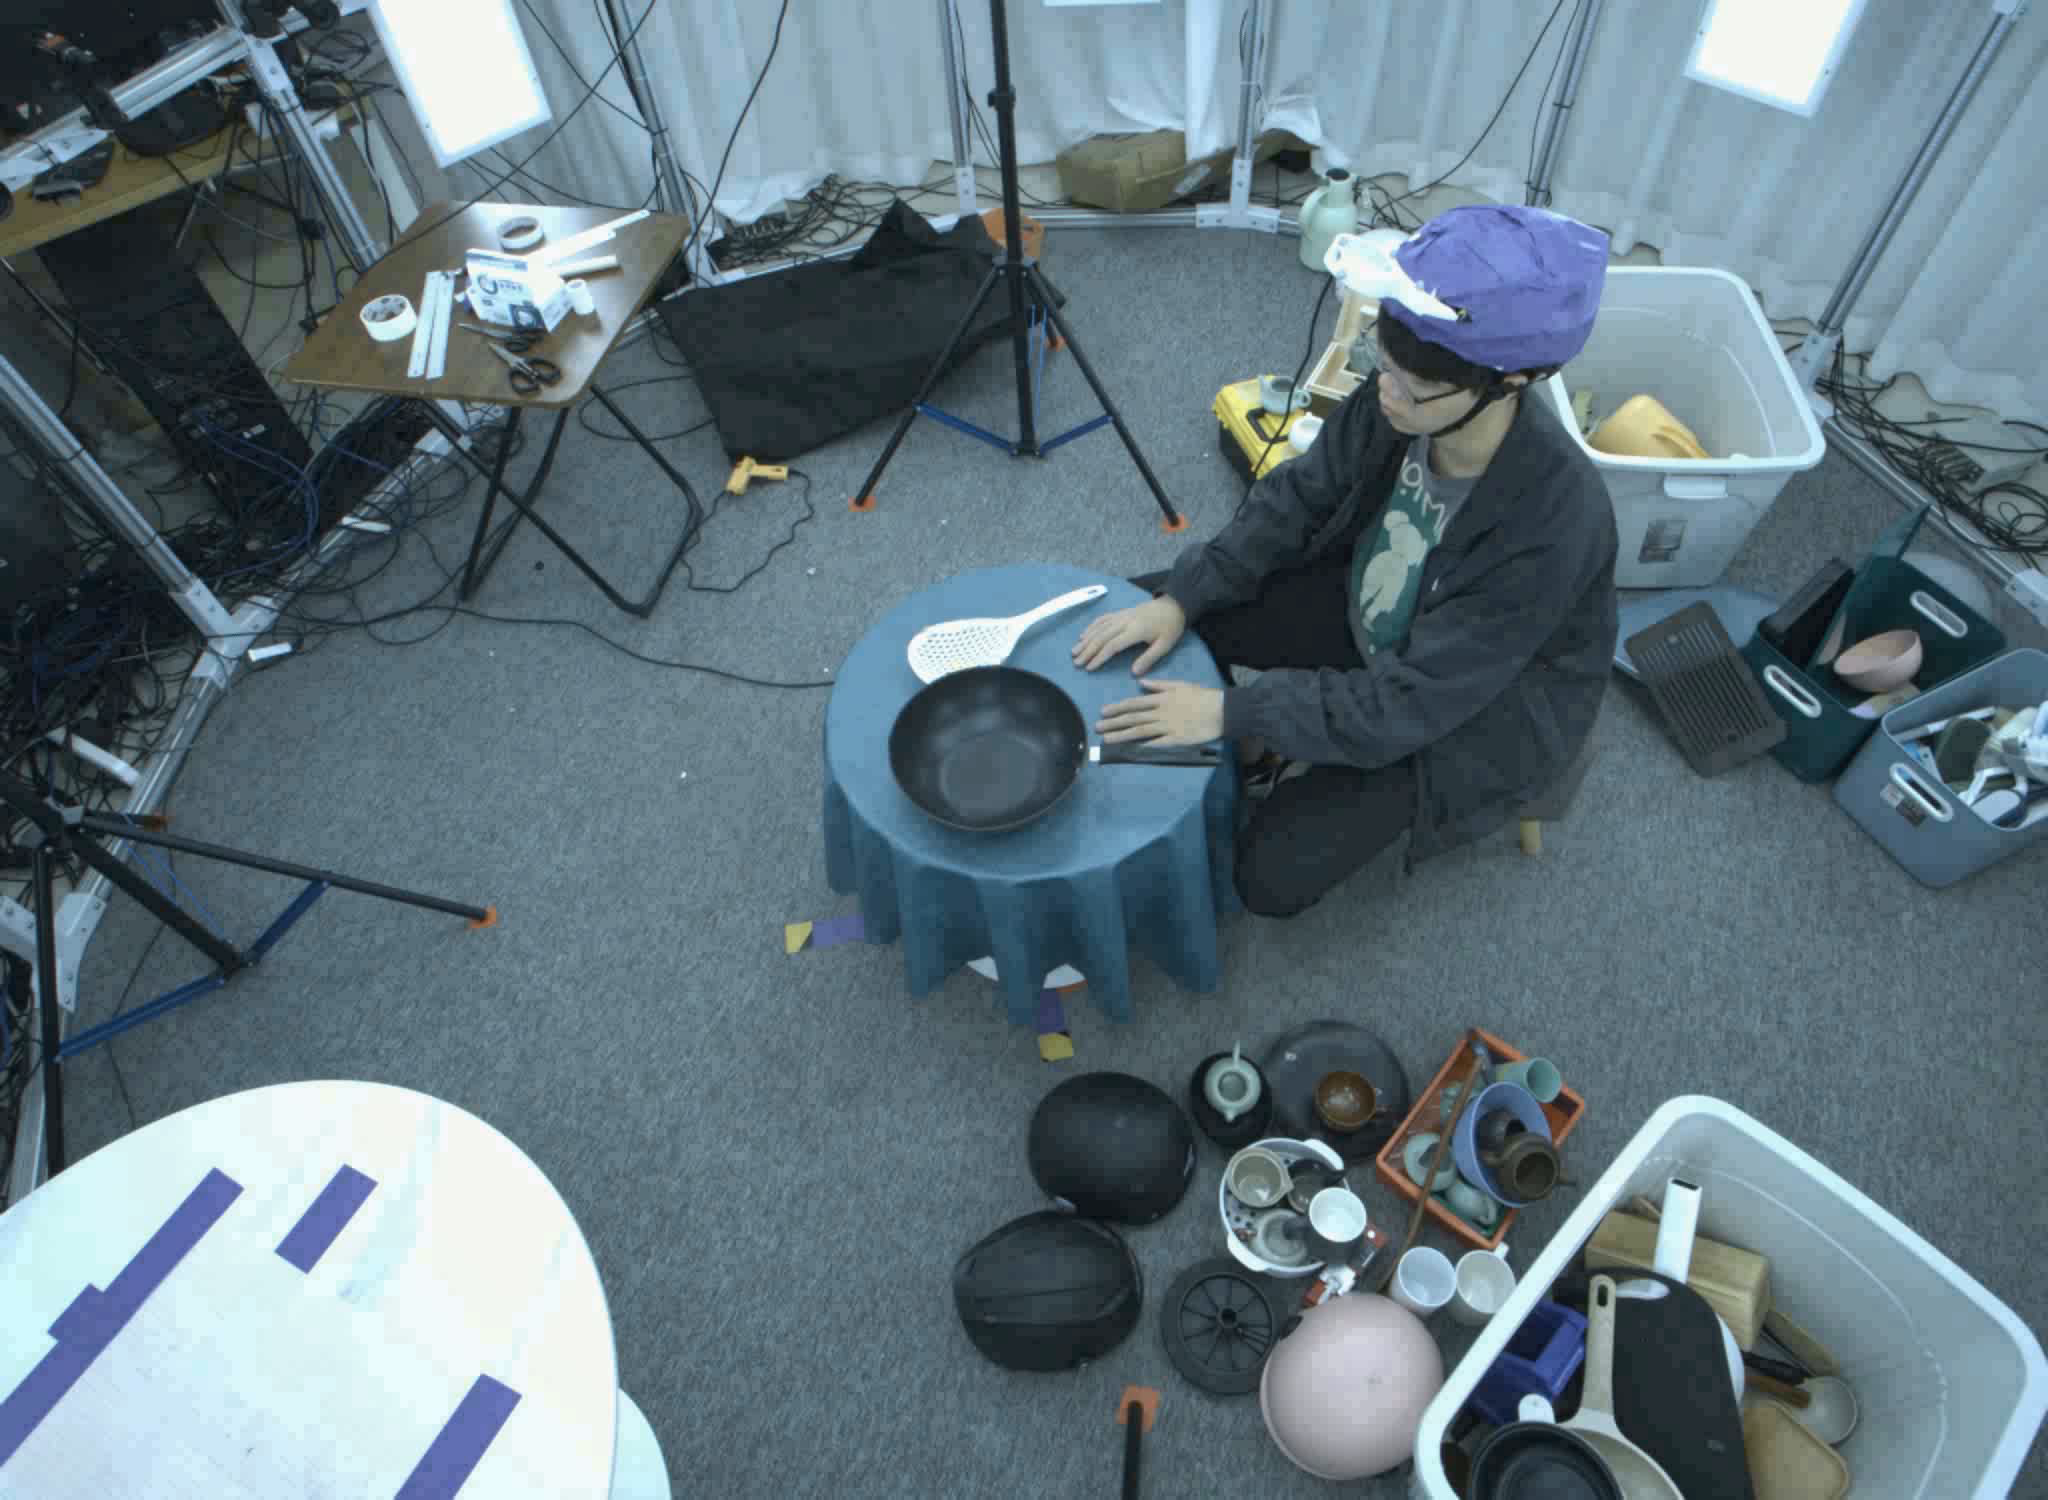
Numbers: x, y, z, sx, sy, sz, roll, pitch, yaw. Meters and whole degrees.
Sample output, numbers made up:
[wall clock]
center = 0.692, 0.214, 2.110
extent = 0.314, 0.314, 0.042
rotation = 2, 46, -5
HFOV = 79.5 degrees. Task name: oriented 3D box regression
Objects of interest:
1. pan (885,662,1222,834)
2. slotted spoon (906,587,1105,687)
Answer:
[pan]
center = 0.041, 0.016, 1.715
extent = 0.462, 0.088, 0.286
rotation = 4, 55, 4
[slotted spoon]
center = -0.015, -0.185, 1.887
extent = 0.351, 0.051, 0.134
rotation = -29, 57, -18
